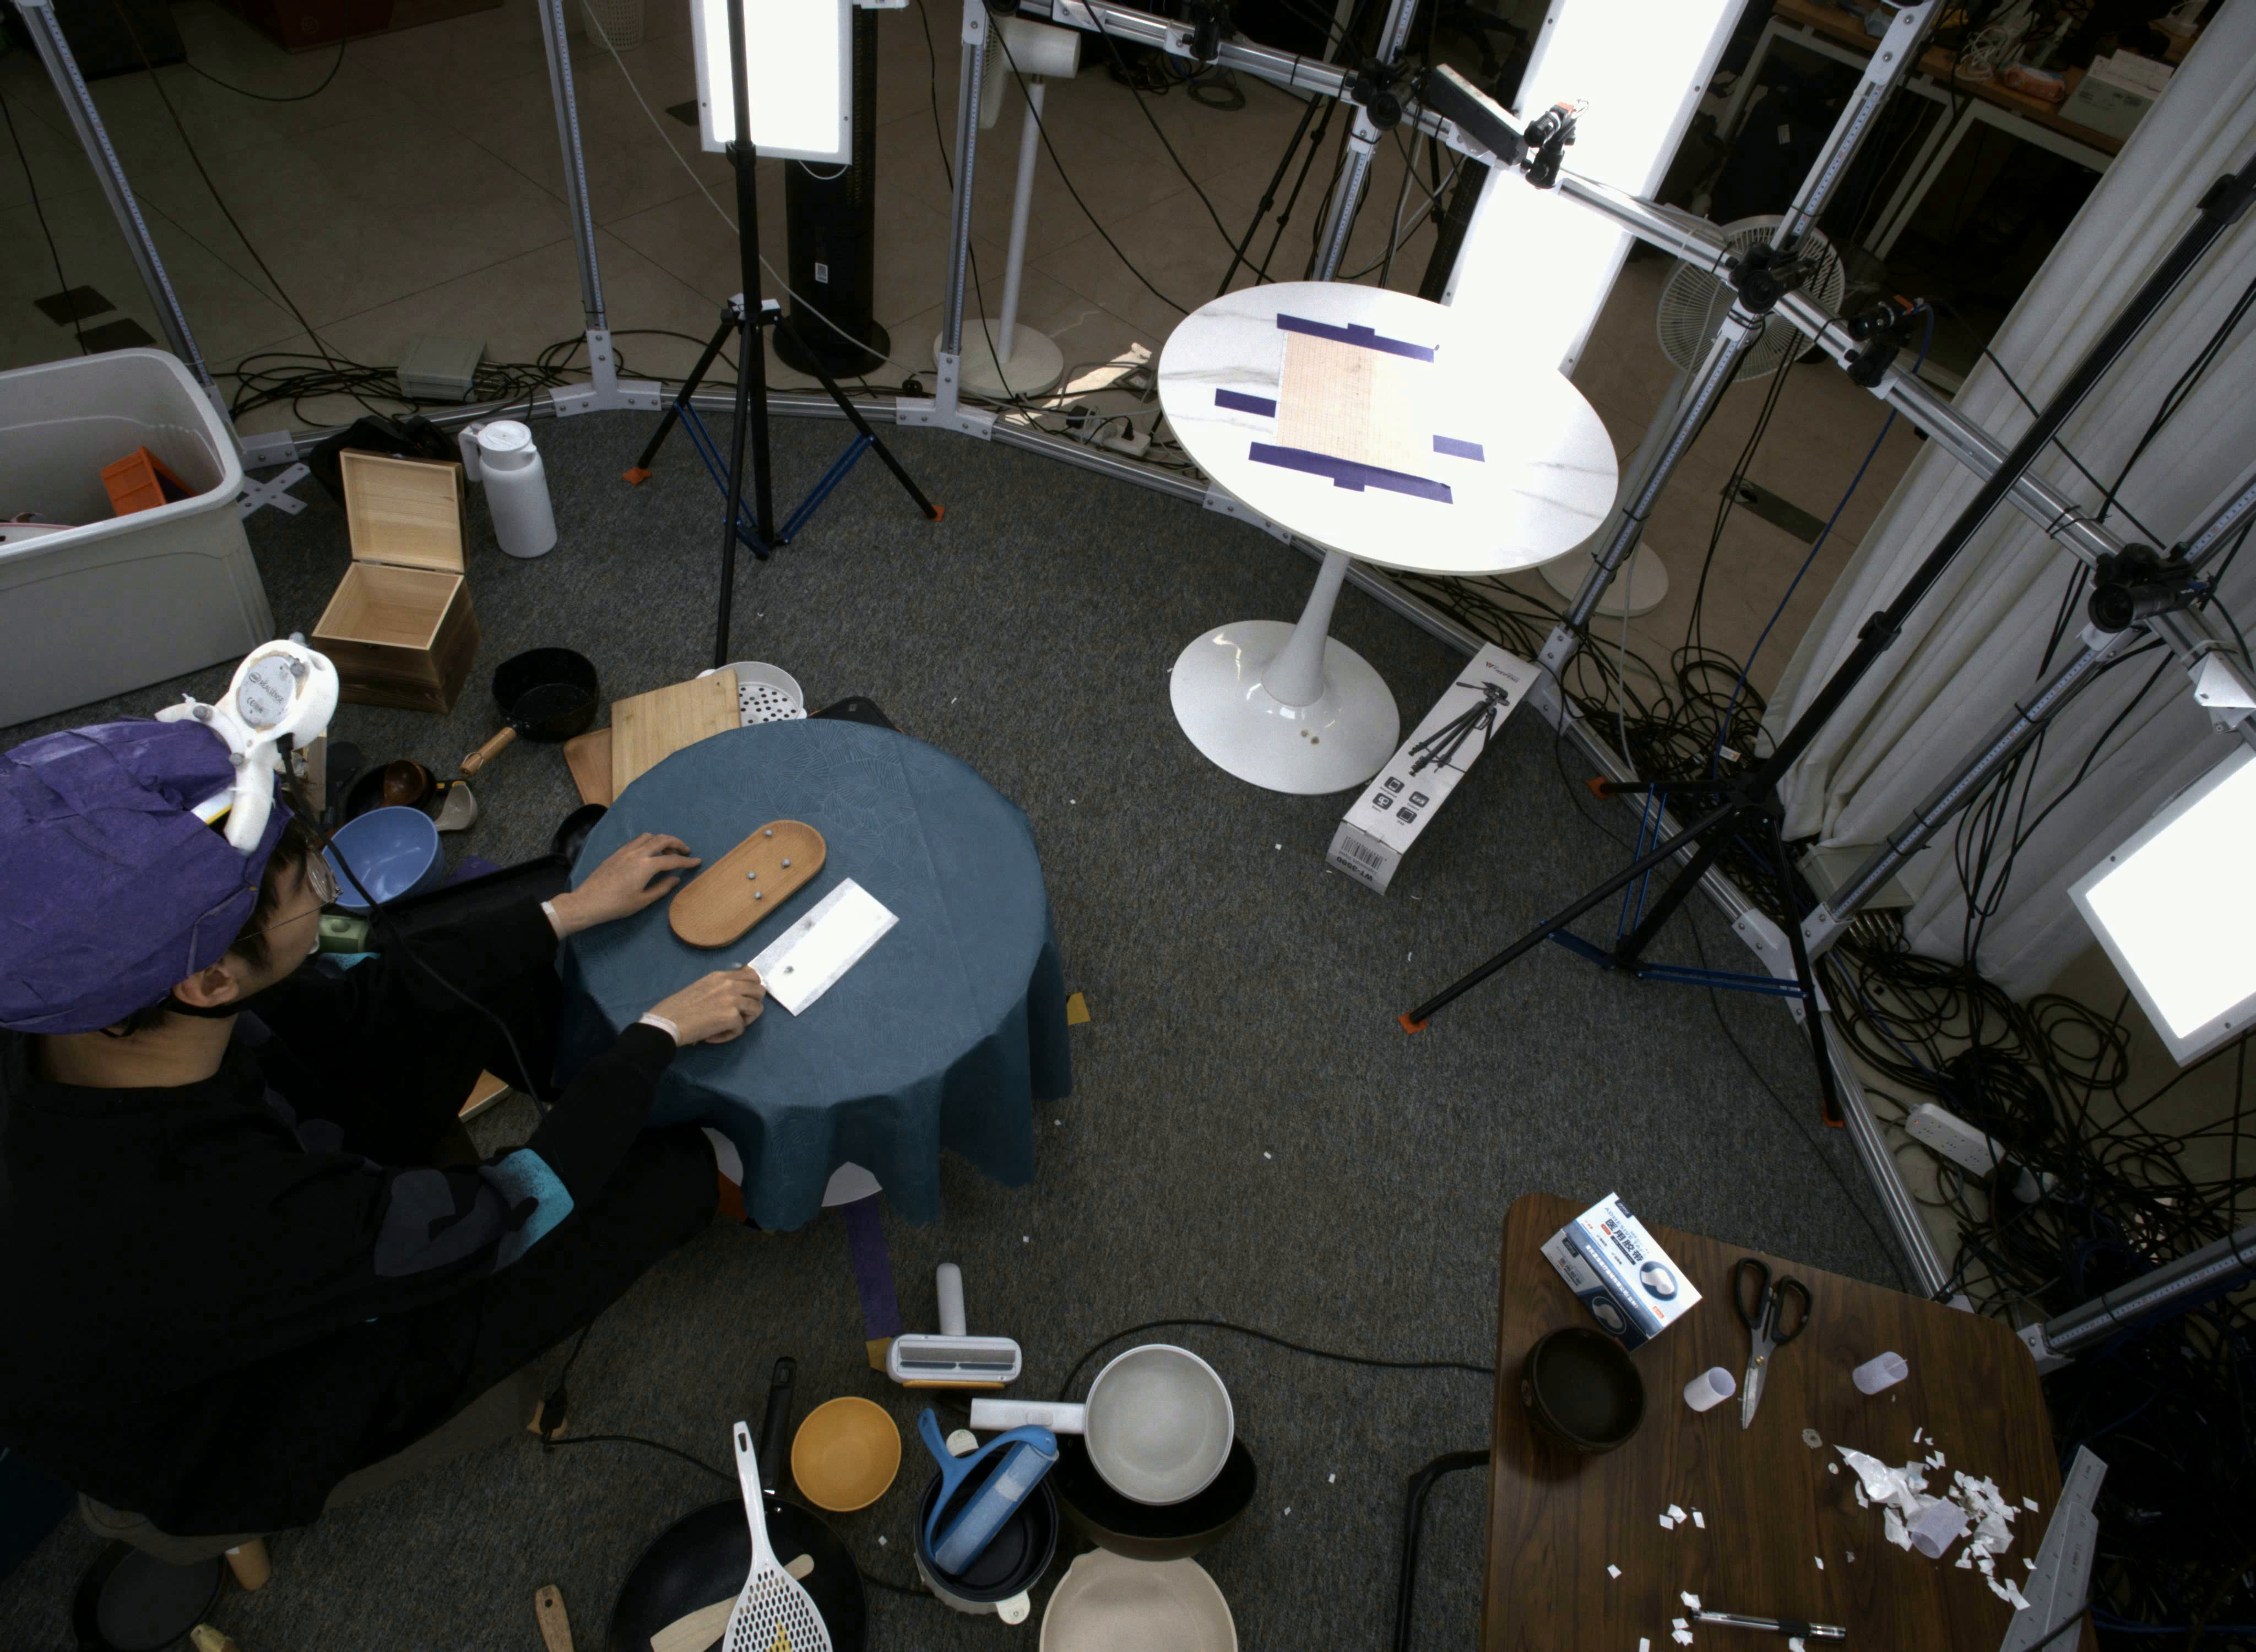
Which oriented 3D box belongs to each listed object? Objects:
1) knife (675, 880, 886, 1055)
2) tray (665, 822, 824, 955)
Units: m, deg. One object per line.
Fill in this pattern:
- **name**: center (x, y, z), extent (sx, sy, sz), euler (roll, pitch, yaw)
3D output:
- **knife**: center (-0.411, 0.178, 1.573), extent (0.092, 0.021, 0.305), euler (40, 53, 5)
- **tray**: center (-0.482, 0.075, 1.631), extent (0.099, 0.021, 0.231), euler (35, 54, 13)
